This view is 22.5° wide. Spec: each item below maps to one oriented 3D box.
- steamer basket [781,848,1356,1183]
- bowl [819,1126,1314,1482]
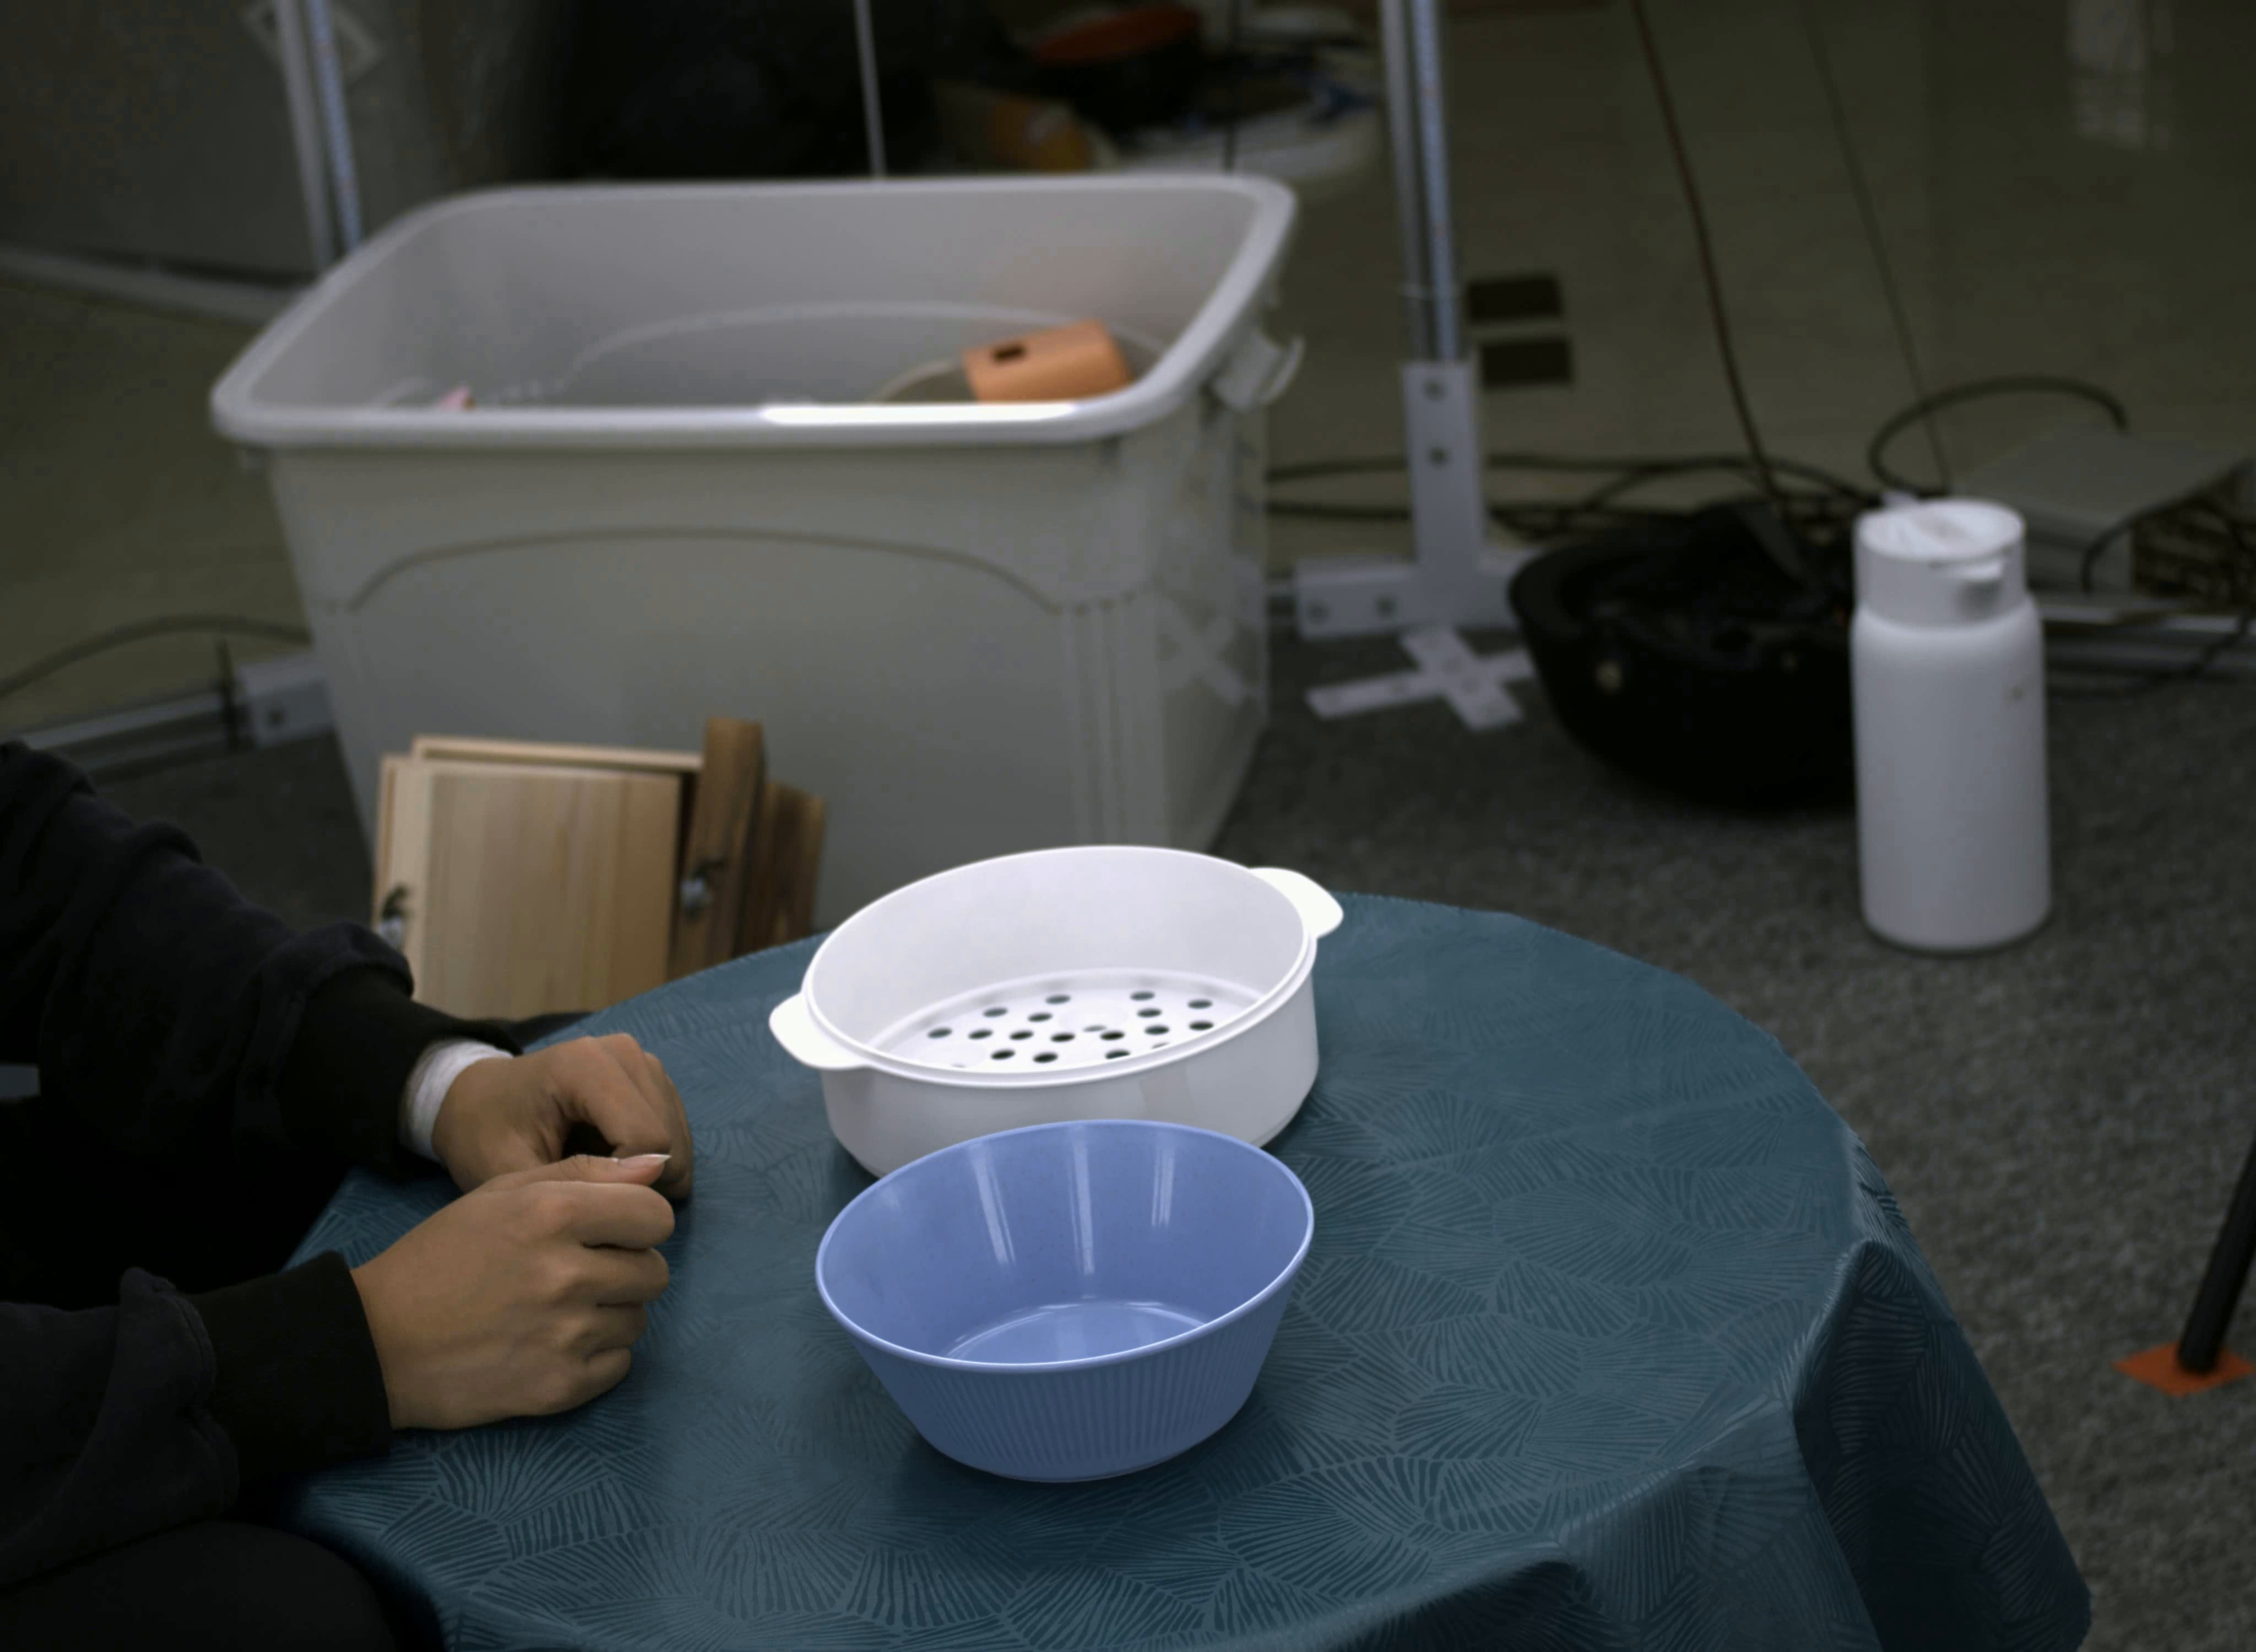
[{"bbox_3d":[-0.020,0.078,2.206,0.230,0.070,0.199,-13,26,-20],"label":"steamer basket"},{"bbox_3d":[-0.018,0.174,1.997,0.176,0.071,0.173,-6,24,3],"label":"bowl"}]
